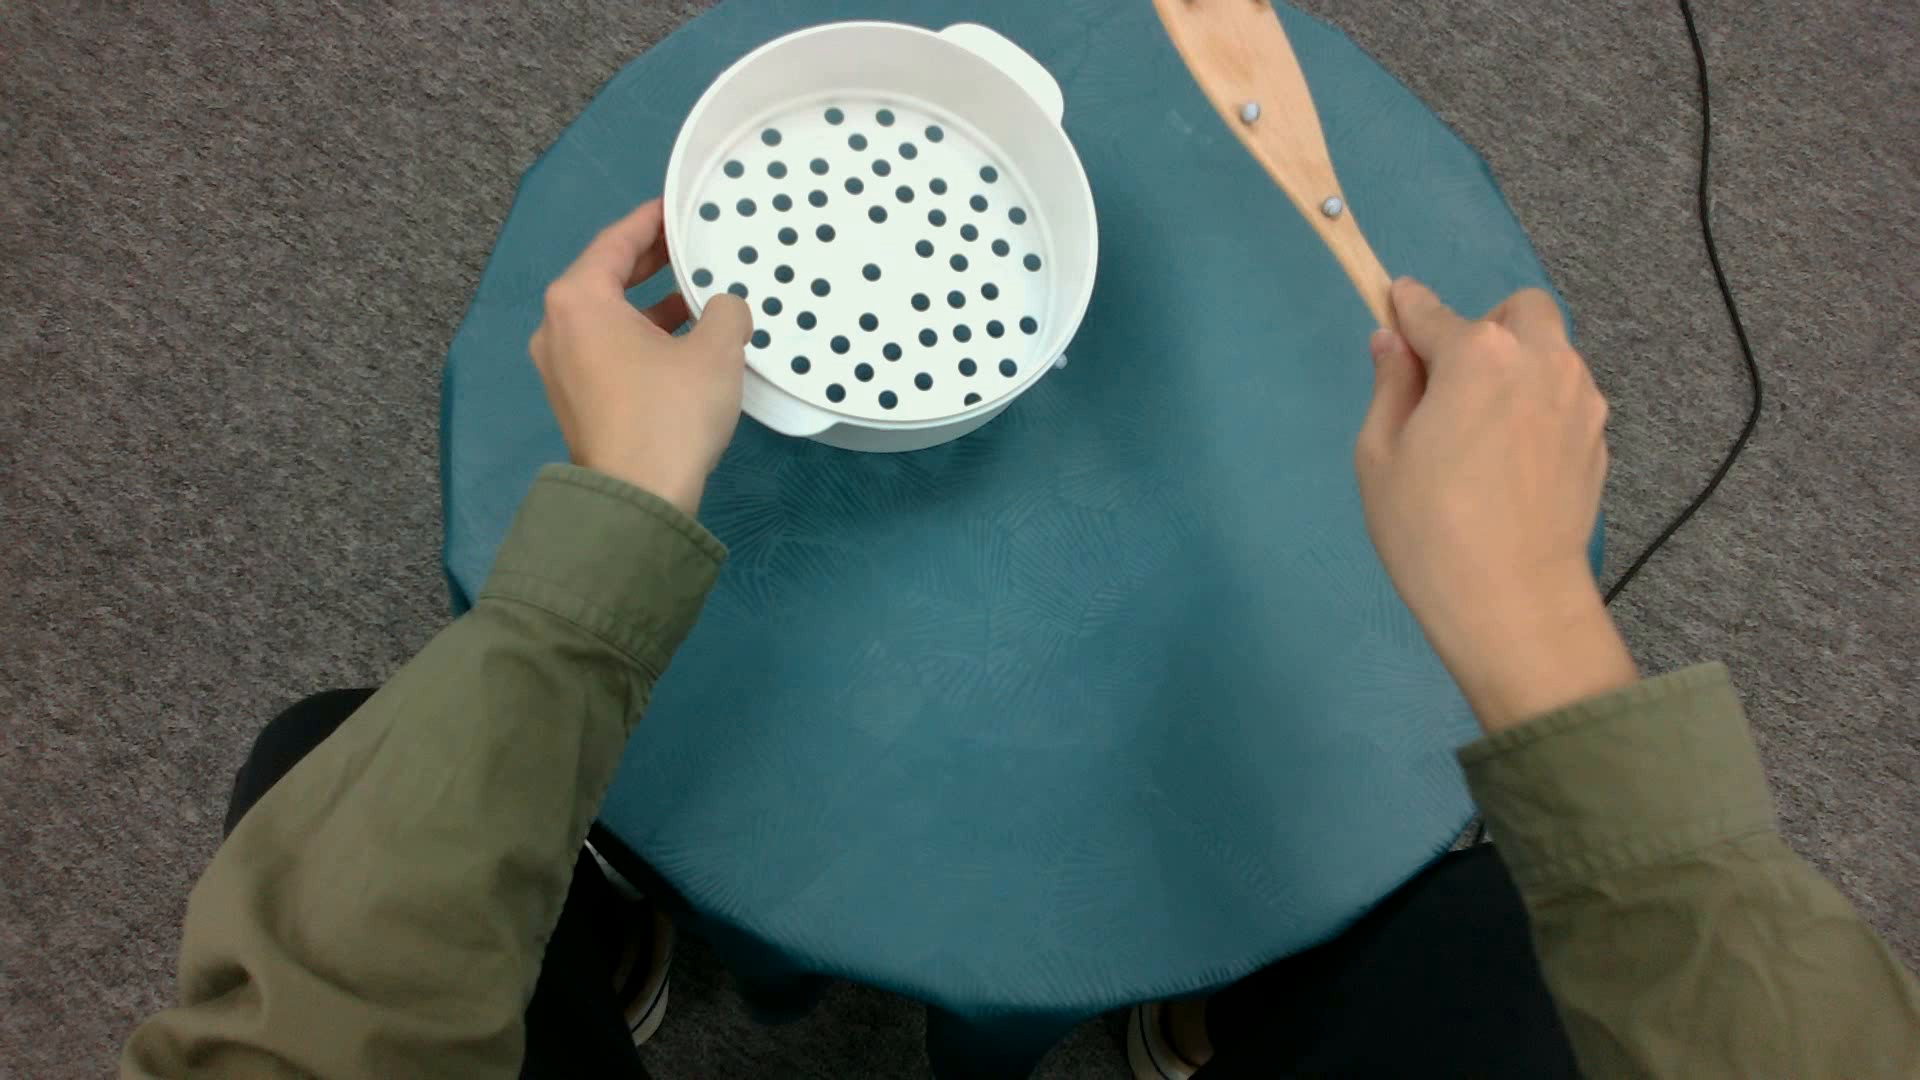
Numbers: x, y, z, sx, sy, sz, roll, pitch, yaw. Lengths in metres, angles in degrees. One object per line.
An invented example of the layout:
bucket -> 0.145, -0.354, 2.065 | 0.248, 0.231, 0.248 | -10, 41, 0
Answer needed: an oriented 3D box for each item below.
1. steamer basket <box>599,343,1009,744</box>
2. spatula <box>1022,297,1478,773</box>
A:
steamer basket -> -0.079, 0.005, 0.707 | 0.202, 0.069, 0.231 | 25, 62, 3
spatula -> 0.128, -0.018, 0.640 | 0.080, 0.016, 0.328 | -8, 44, -28
